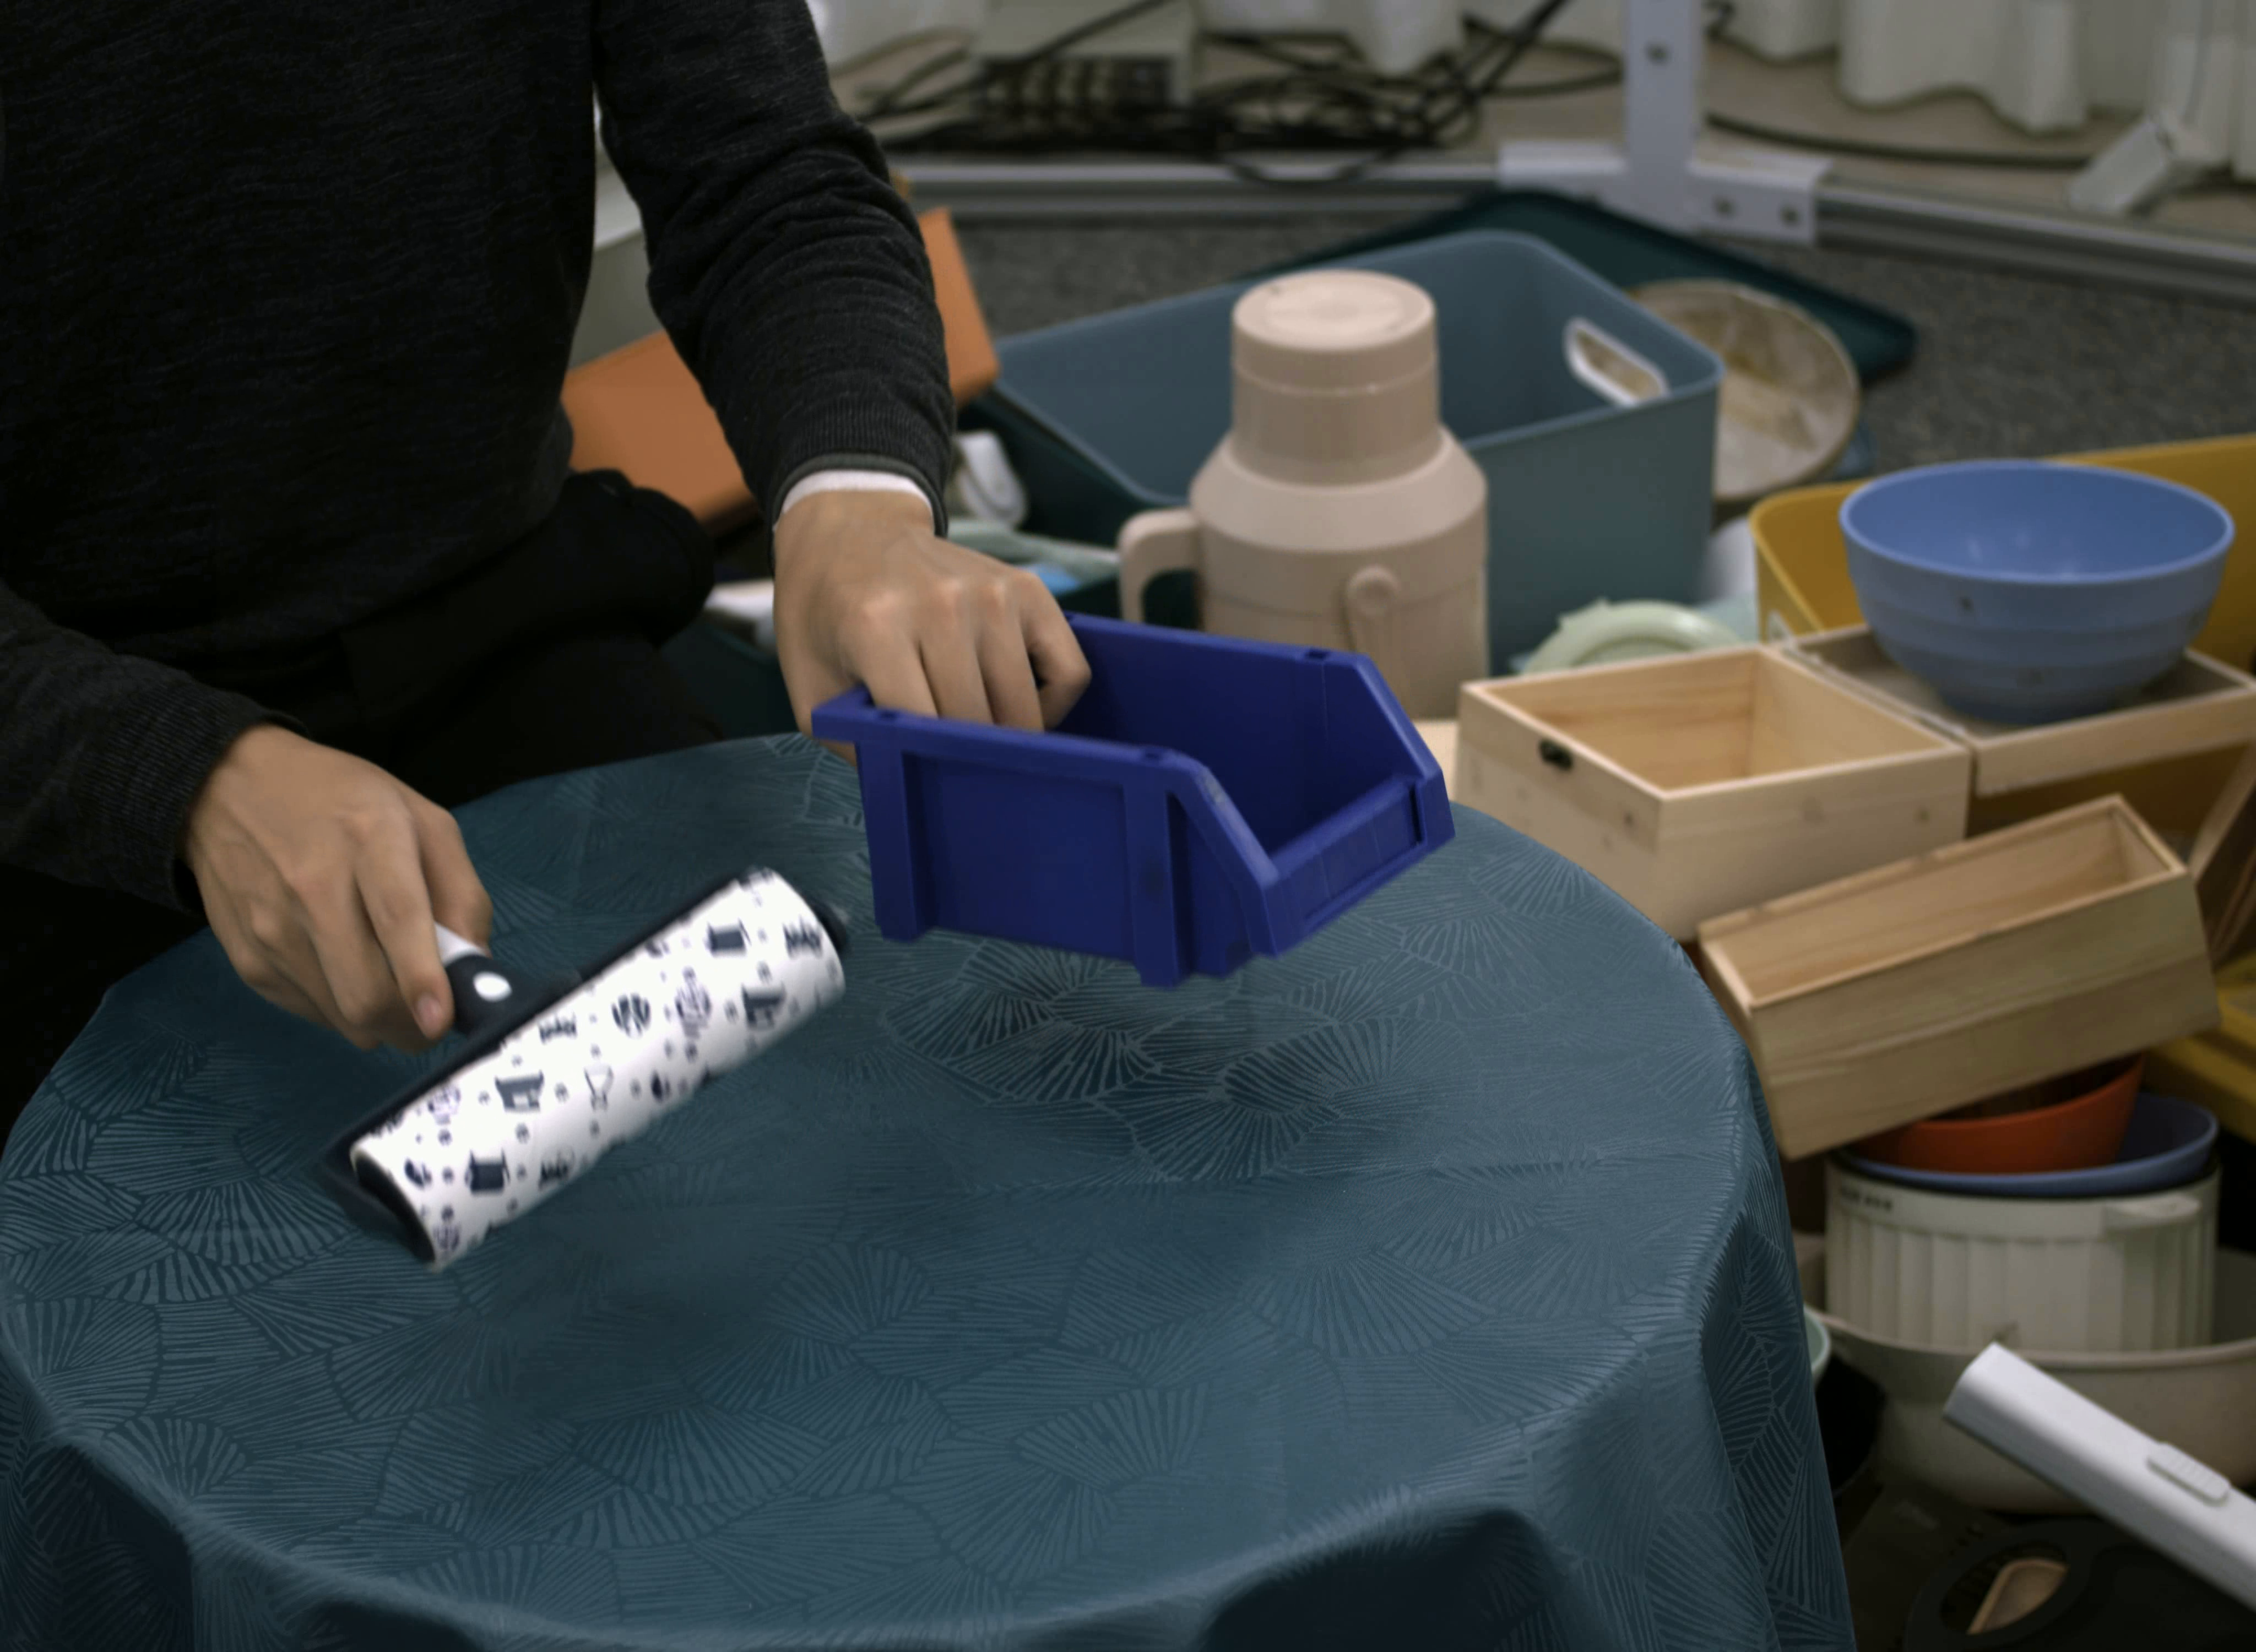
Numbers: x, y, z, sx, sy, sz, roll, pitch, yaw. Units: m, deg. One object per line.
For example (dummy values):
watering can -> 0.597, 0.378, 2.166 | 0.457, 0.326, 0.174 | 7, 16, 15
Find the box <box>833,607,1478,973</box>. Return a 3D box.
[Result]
box -> 0.011, -0.013, 1.896 | 0.178, 0.081, 0.126 | 6, 20, 33

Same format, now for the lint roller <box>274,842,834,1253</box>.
lint roller -> -0.224, 0.046, 1.836 | 0.178, 0.050, 0.247 | -37, 32, -22
